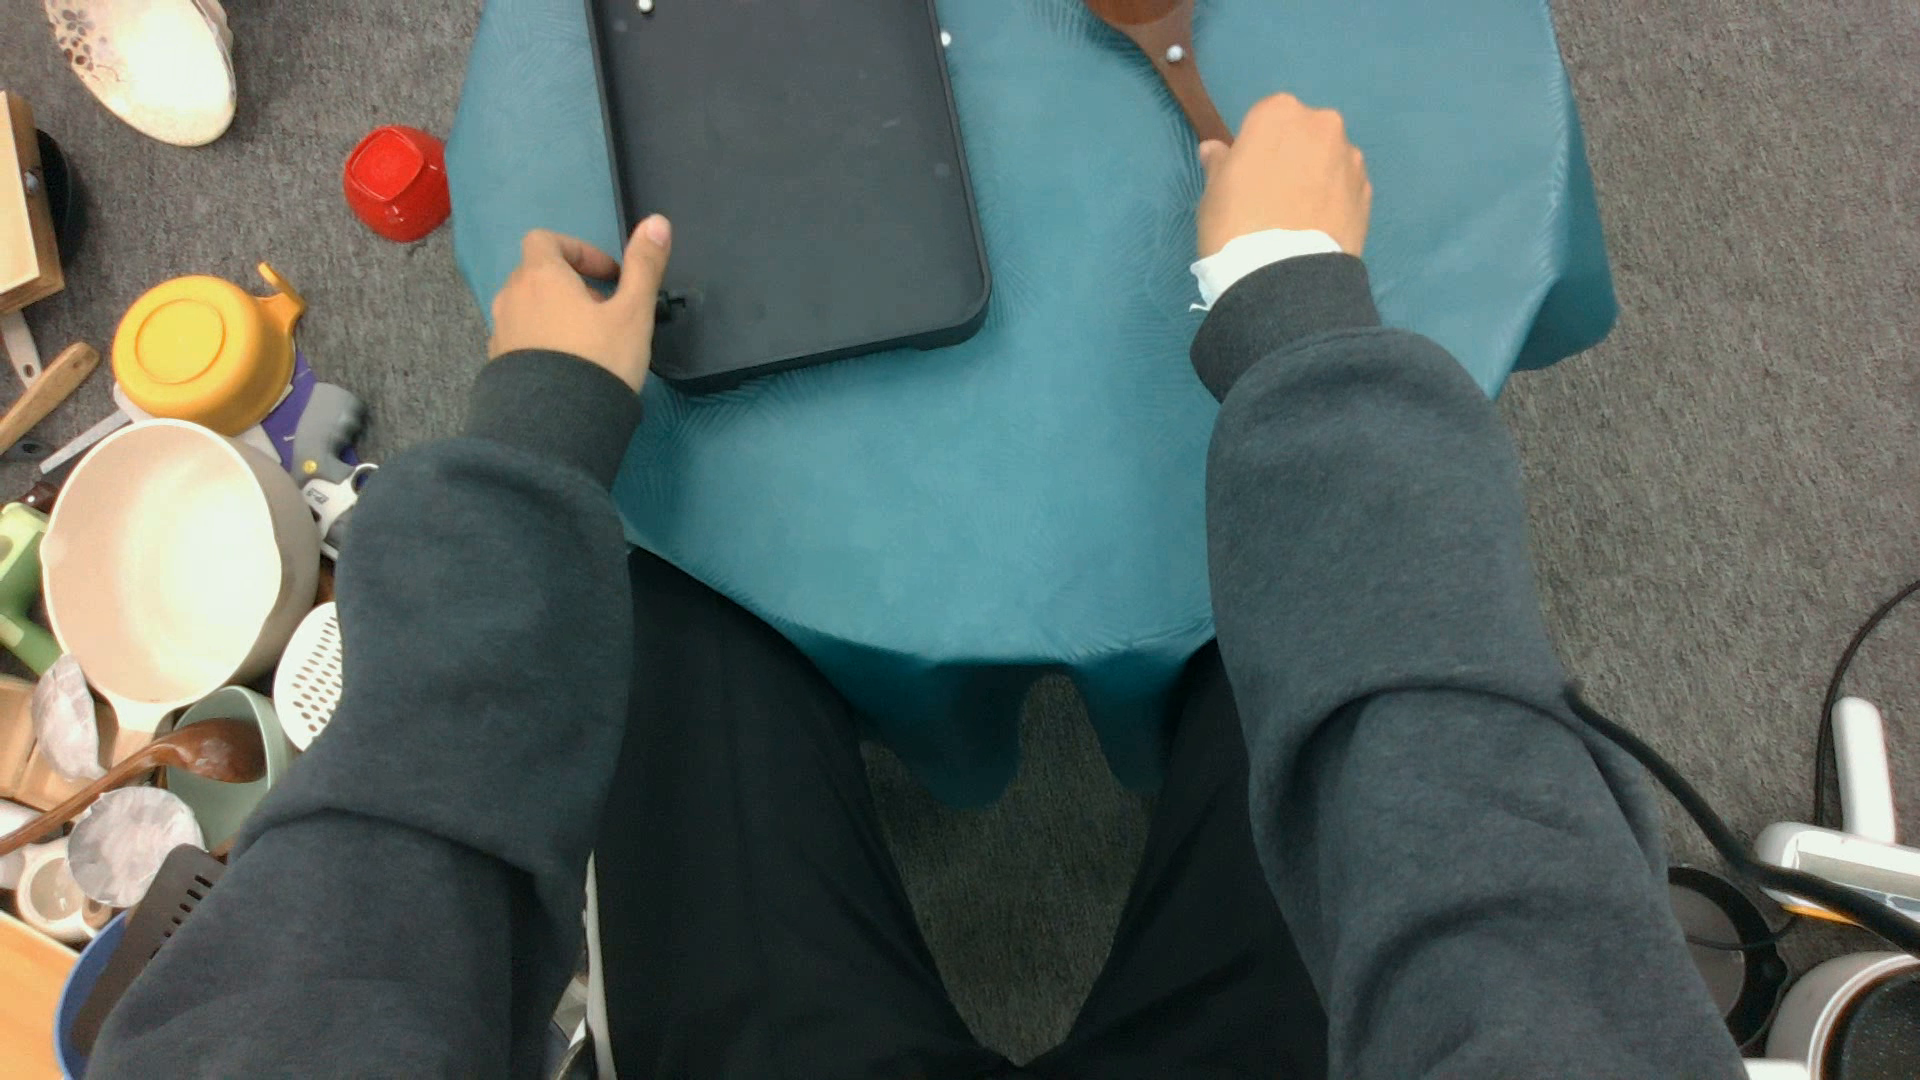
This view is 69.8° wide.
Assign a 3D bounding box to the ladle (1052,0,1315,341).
[{"bbox_3d":[0.117,-0.222,0.708,0.076,0.065,0.260,-26,78,15],"label":"ladle"}]

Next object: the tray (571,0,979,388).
[{"bbox_3d":[-0.106,-0.244,0.733,0.184,0.037,0.318,-11,77,0],"label":"tray"}]
